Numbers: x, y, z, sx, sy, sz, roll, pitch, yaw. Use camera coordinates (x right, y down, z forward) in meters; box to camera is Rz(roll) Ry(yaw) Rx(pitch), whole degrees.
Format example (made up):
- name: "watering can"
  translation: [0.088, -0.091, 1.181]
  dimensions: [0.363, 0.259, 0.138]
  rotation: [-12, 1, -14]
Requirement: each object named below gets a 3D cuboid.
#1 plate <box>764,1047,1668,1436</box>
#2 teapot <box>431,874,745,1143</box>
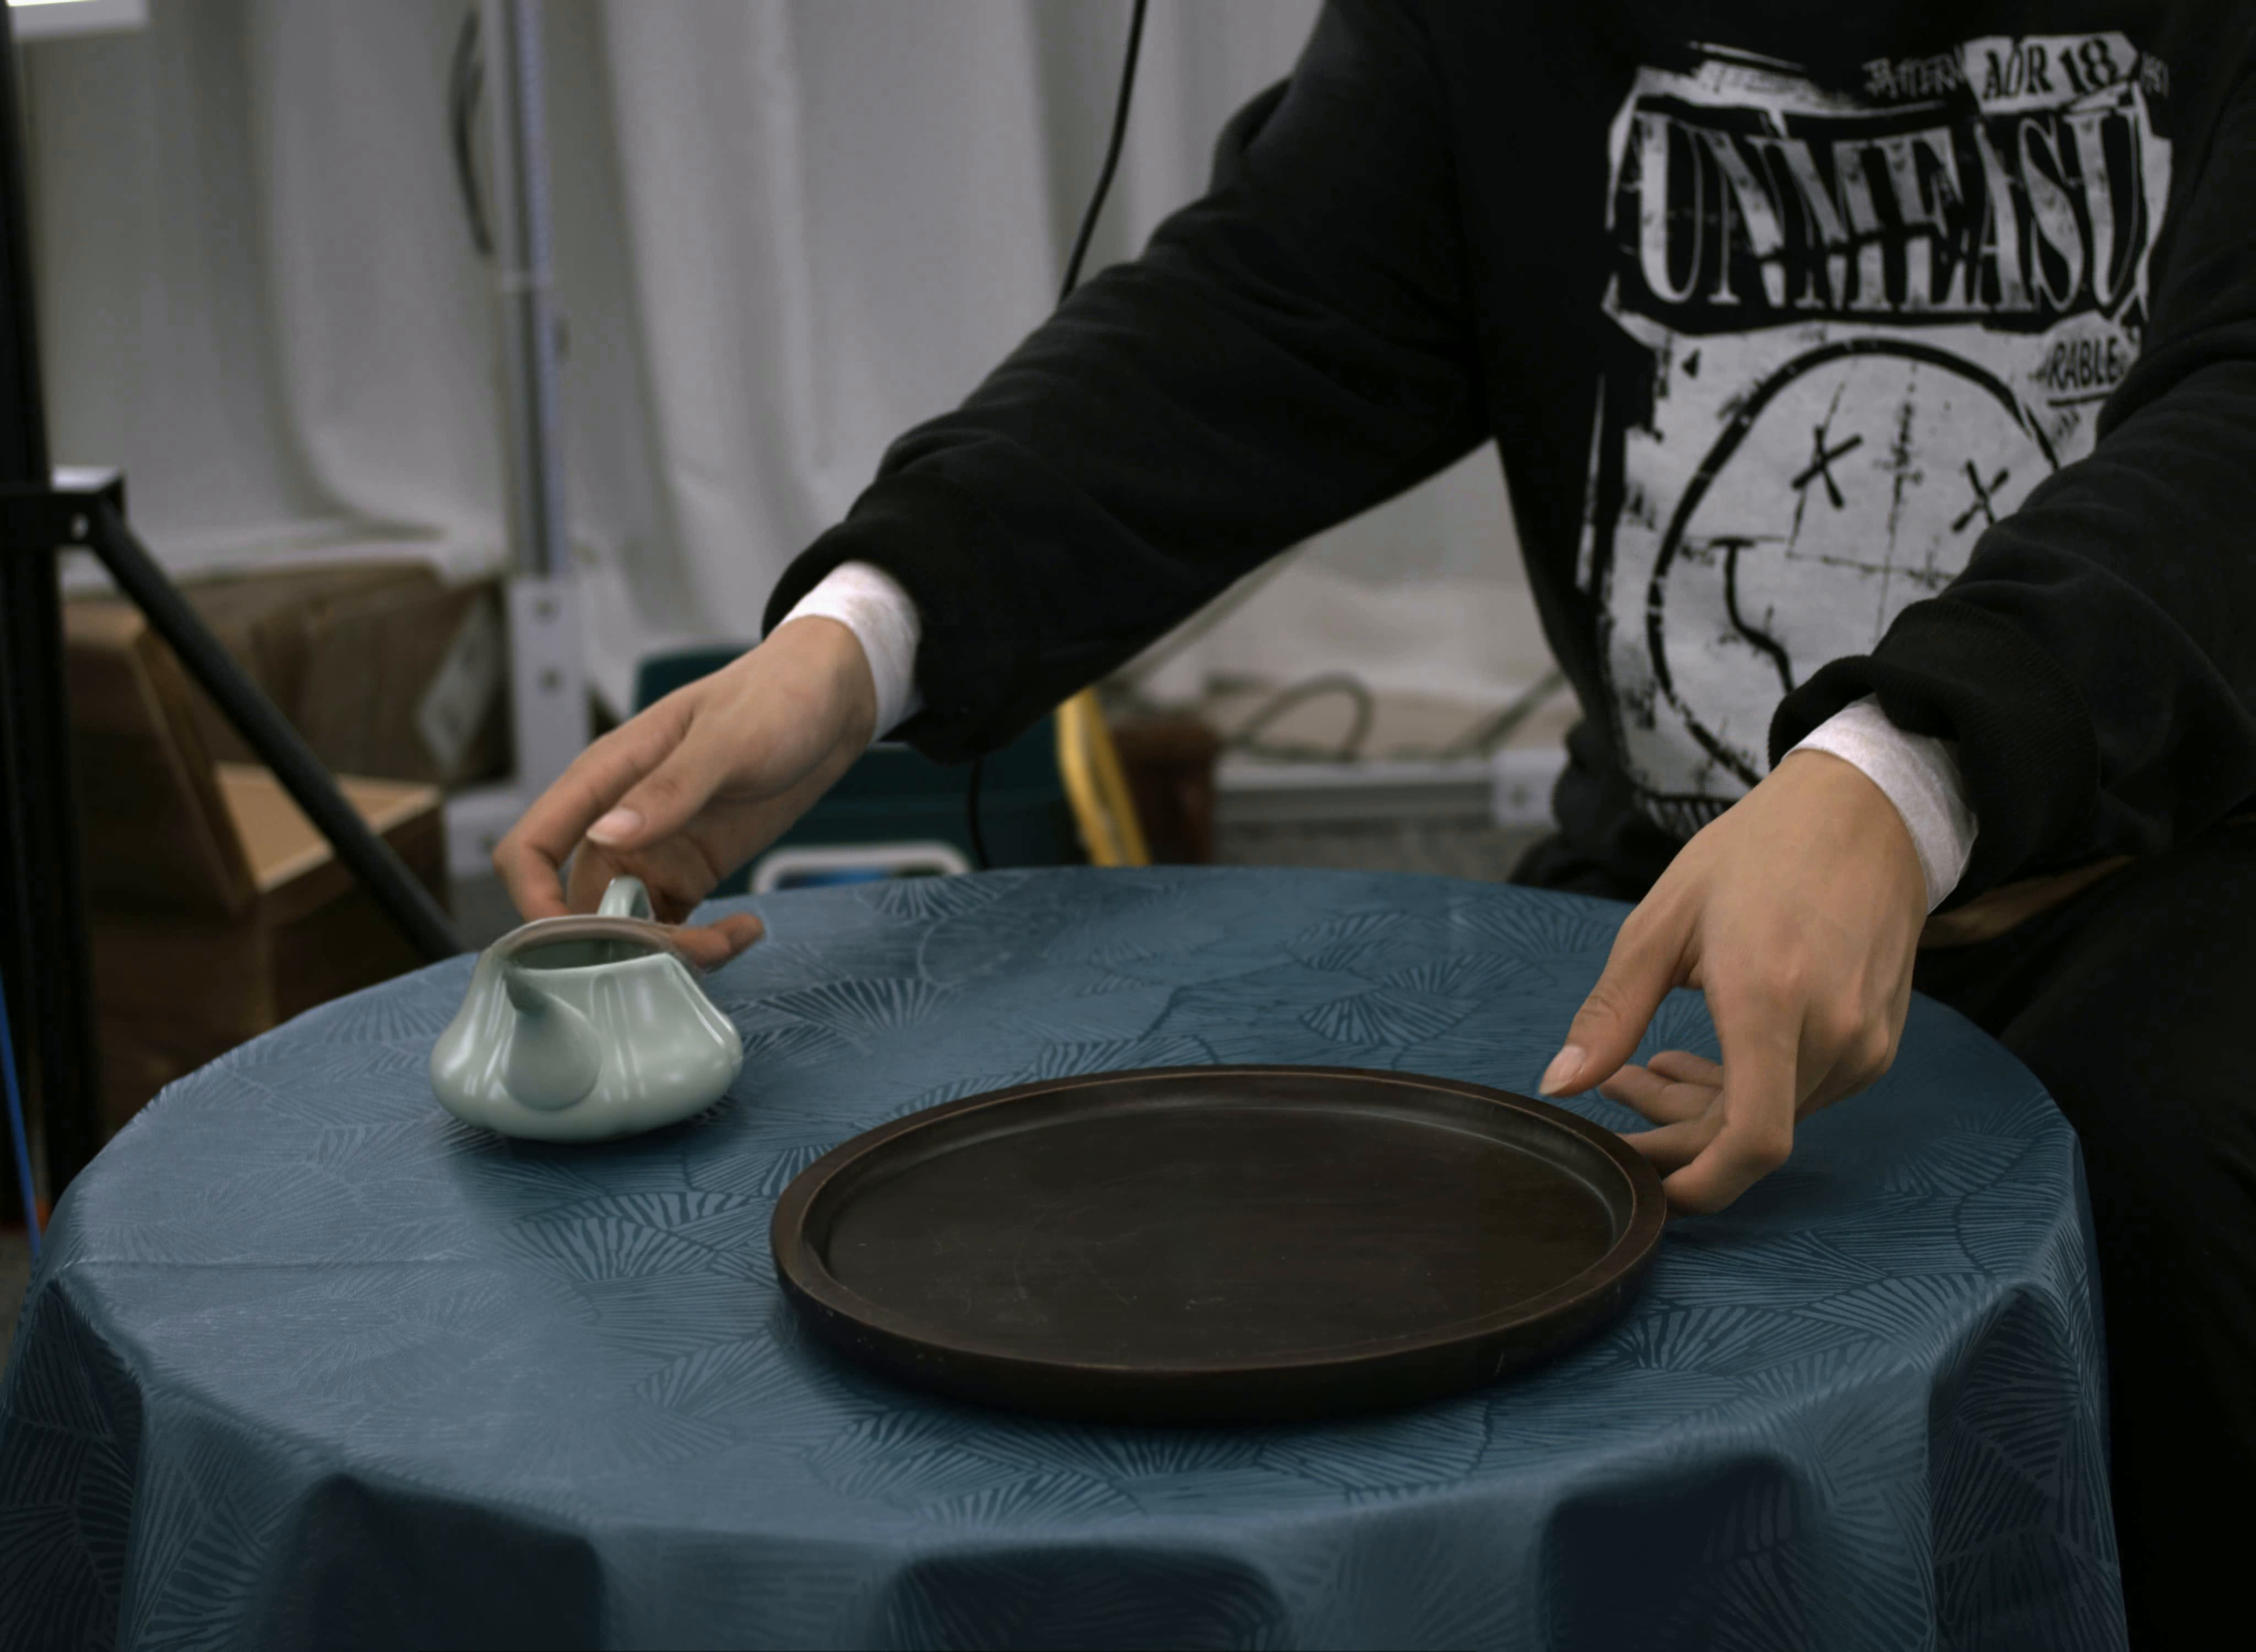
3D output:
- name: "plate"
  translation: [0.025, 0.116, 1.480]
  dimensions: [0.253, 0.029, 0.256]
  rotation: [-4, 16, 0]
- name: "teapot"
  translation: [-0.166, 0.060, 1.644]
  dimensions: [0.096, 0.061, 0.137]
  rotation: [-1, 16, 8]
